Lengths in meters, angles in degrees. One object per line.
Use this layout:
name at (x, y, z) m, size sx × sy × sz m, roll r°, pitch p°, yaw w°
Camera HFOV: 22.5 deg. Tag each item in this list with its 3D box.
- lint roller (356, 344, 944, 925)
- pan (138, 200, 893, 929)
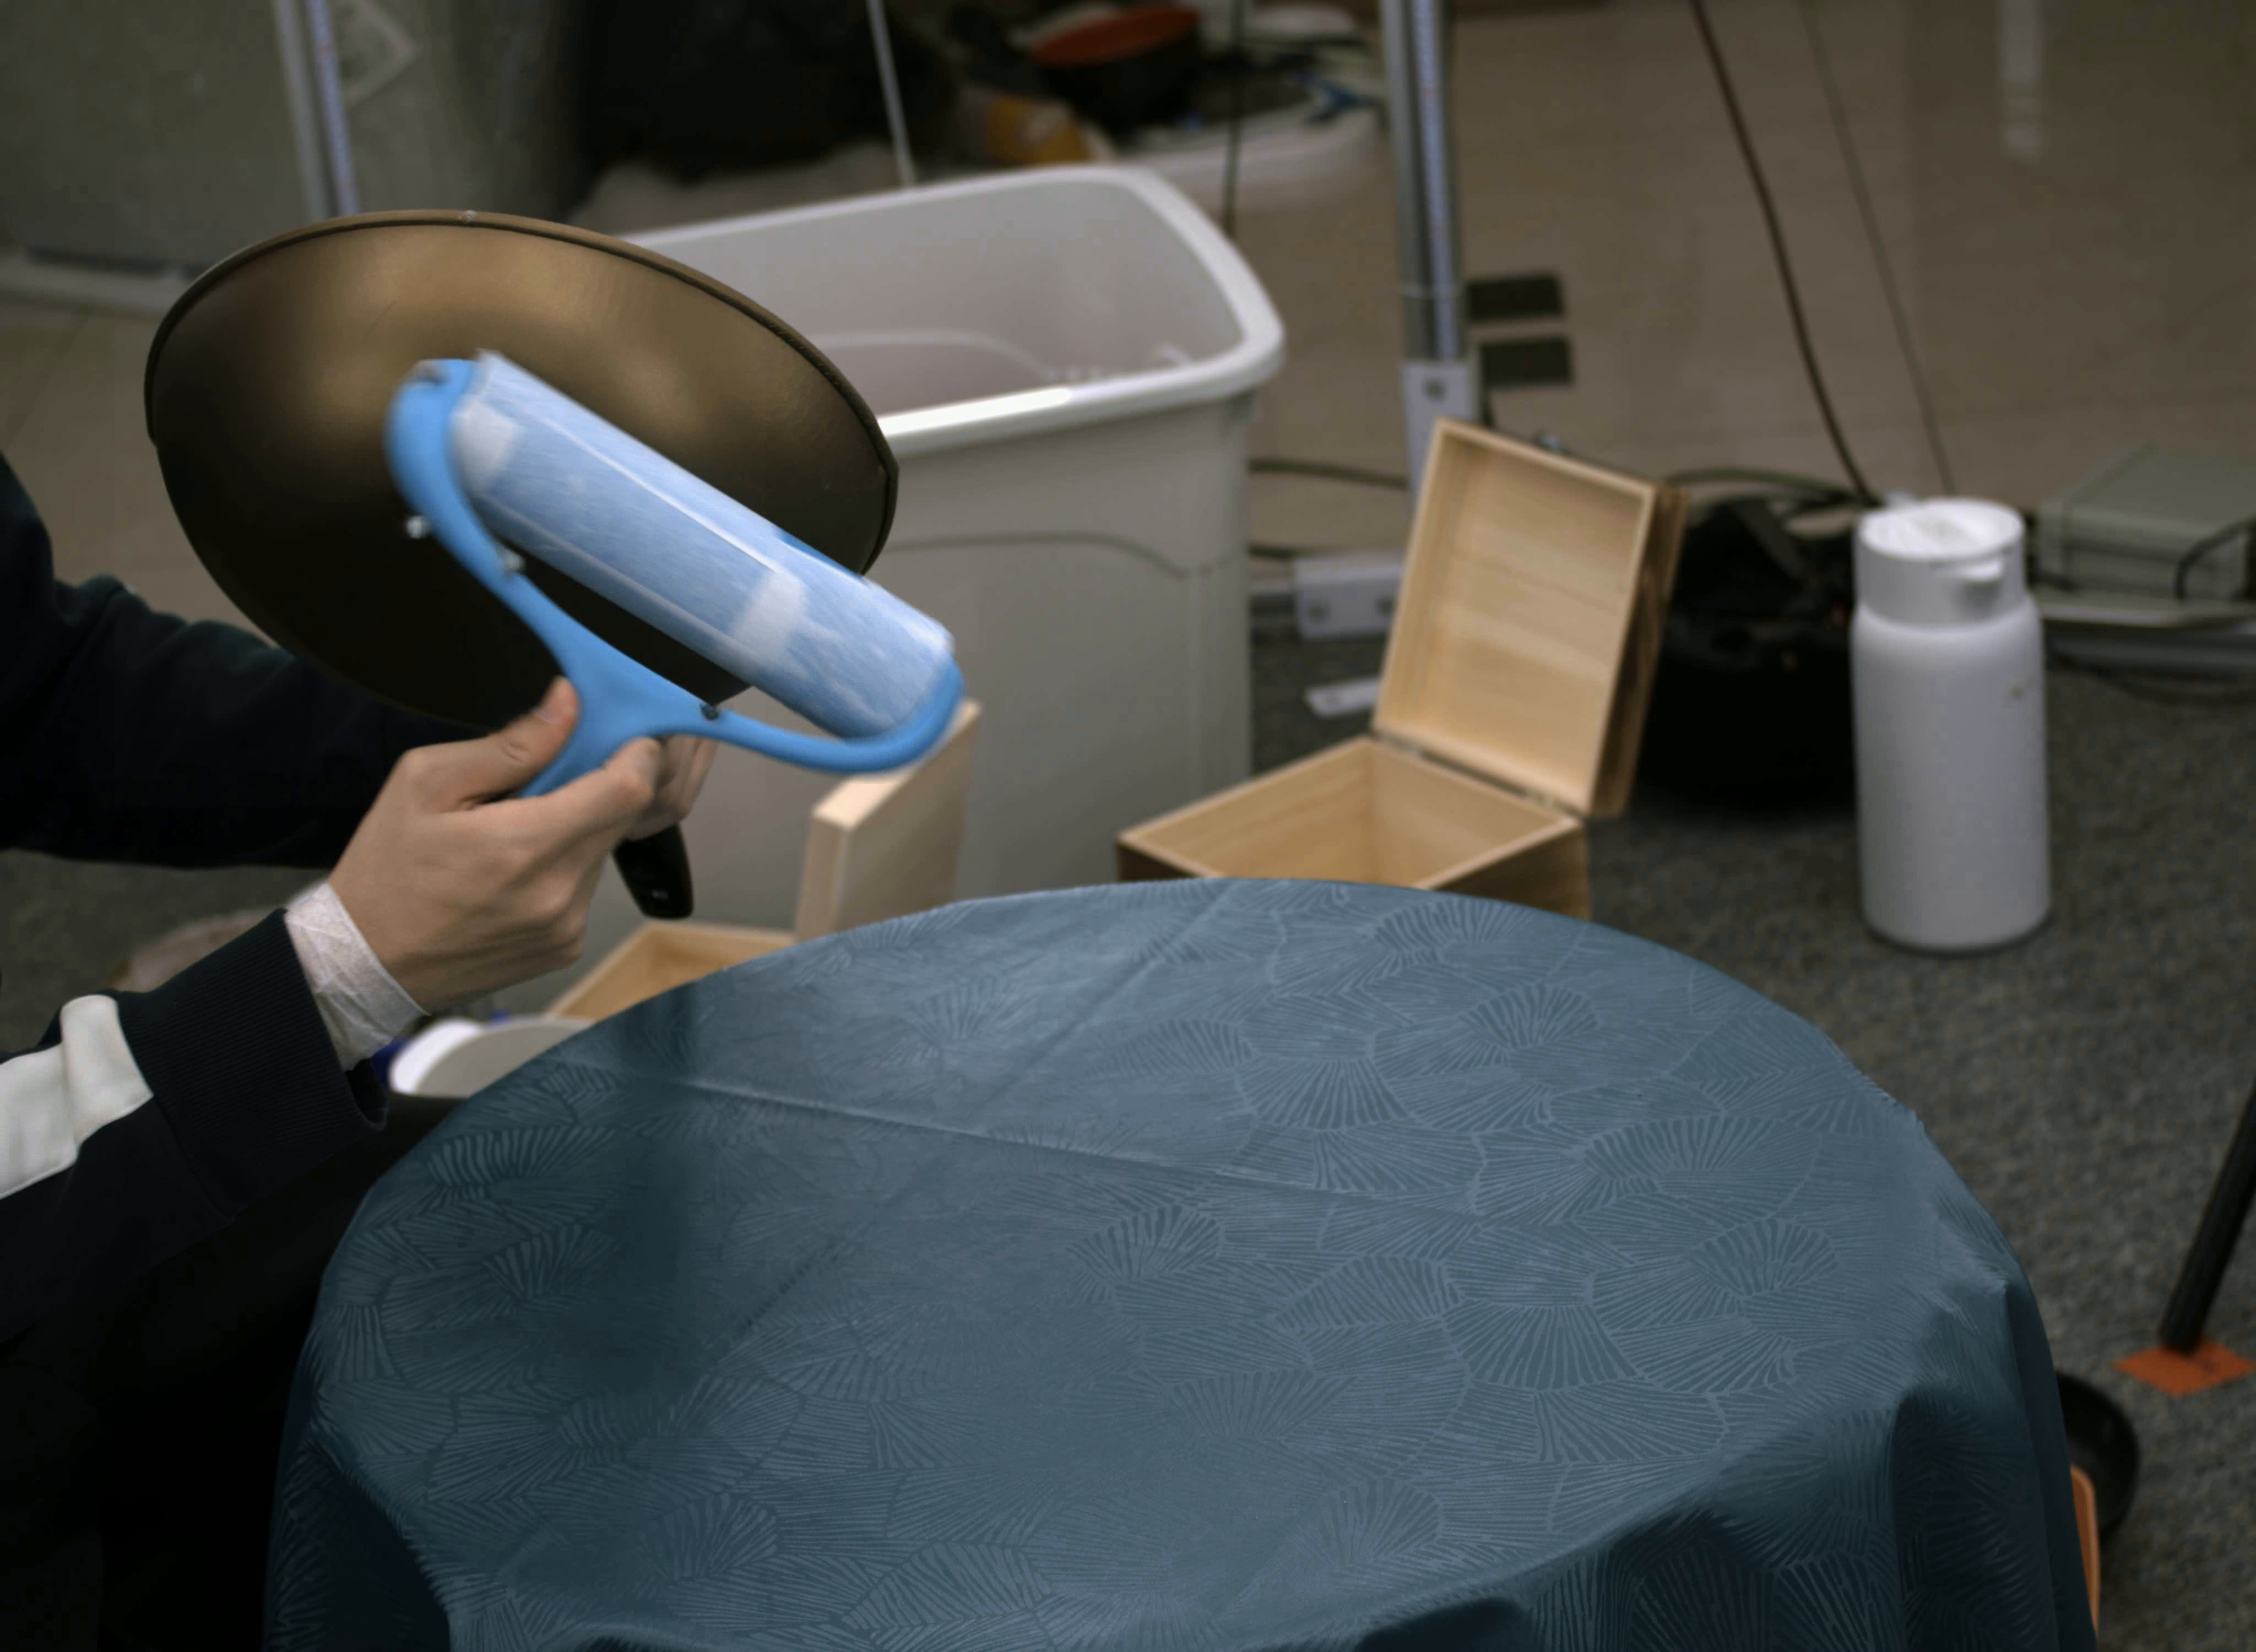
lint roller at (-0.187, -0.048, 1.977) m, size 0.230 × 0.180 × 0.068 m, roll 25°, pitch -7°, yaw -20°
pan at (-0.222, -0.062, 2.166) m, size 0.287 × 0.471 × 0.085 m, roll 3°, pitch 58°, yaw 9°
